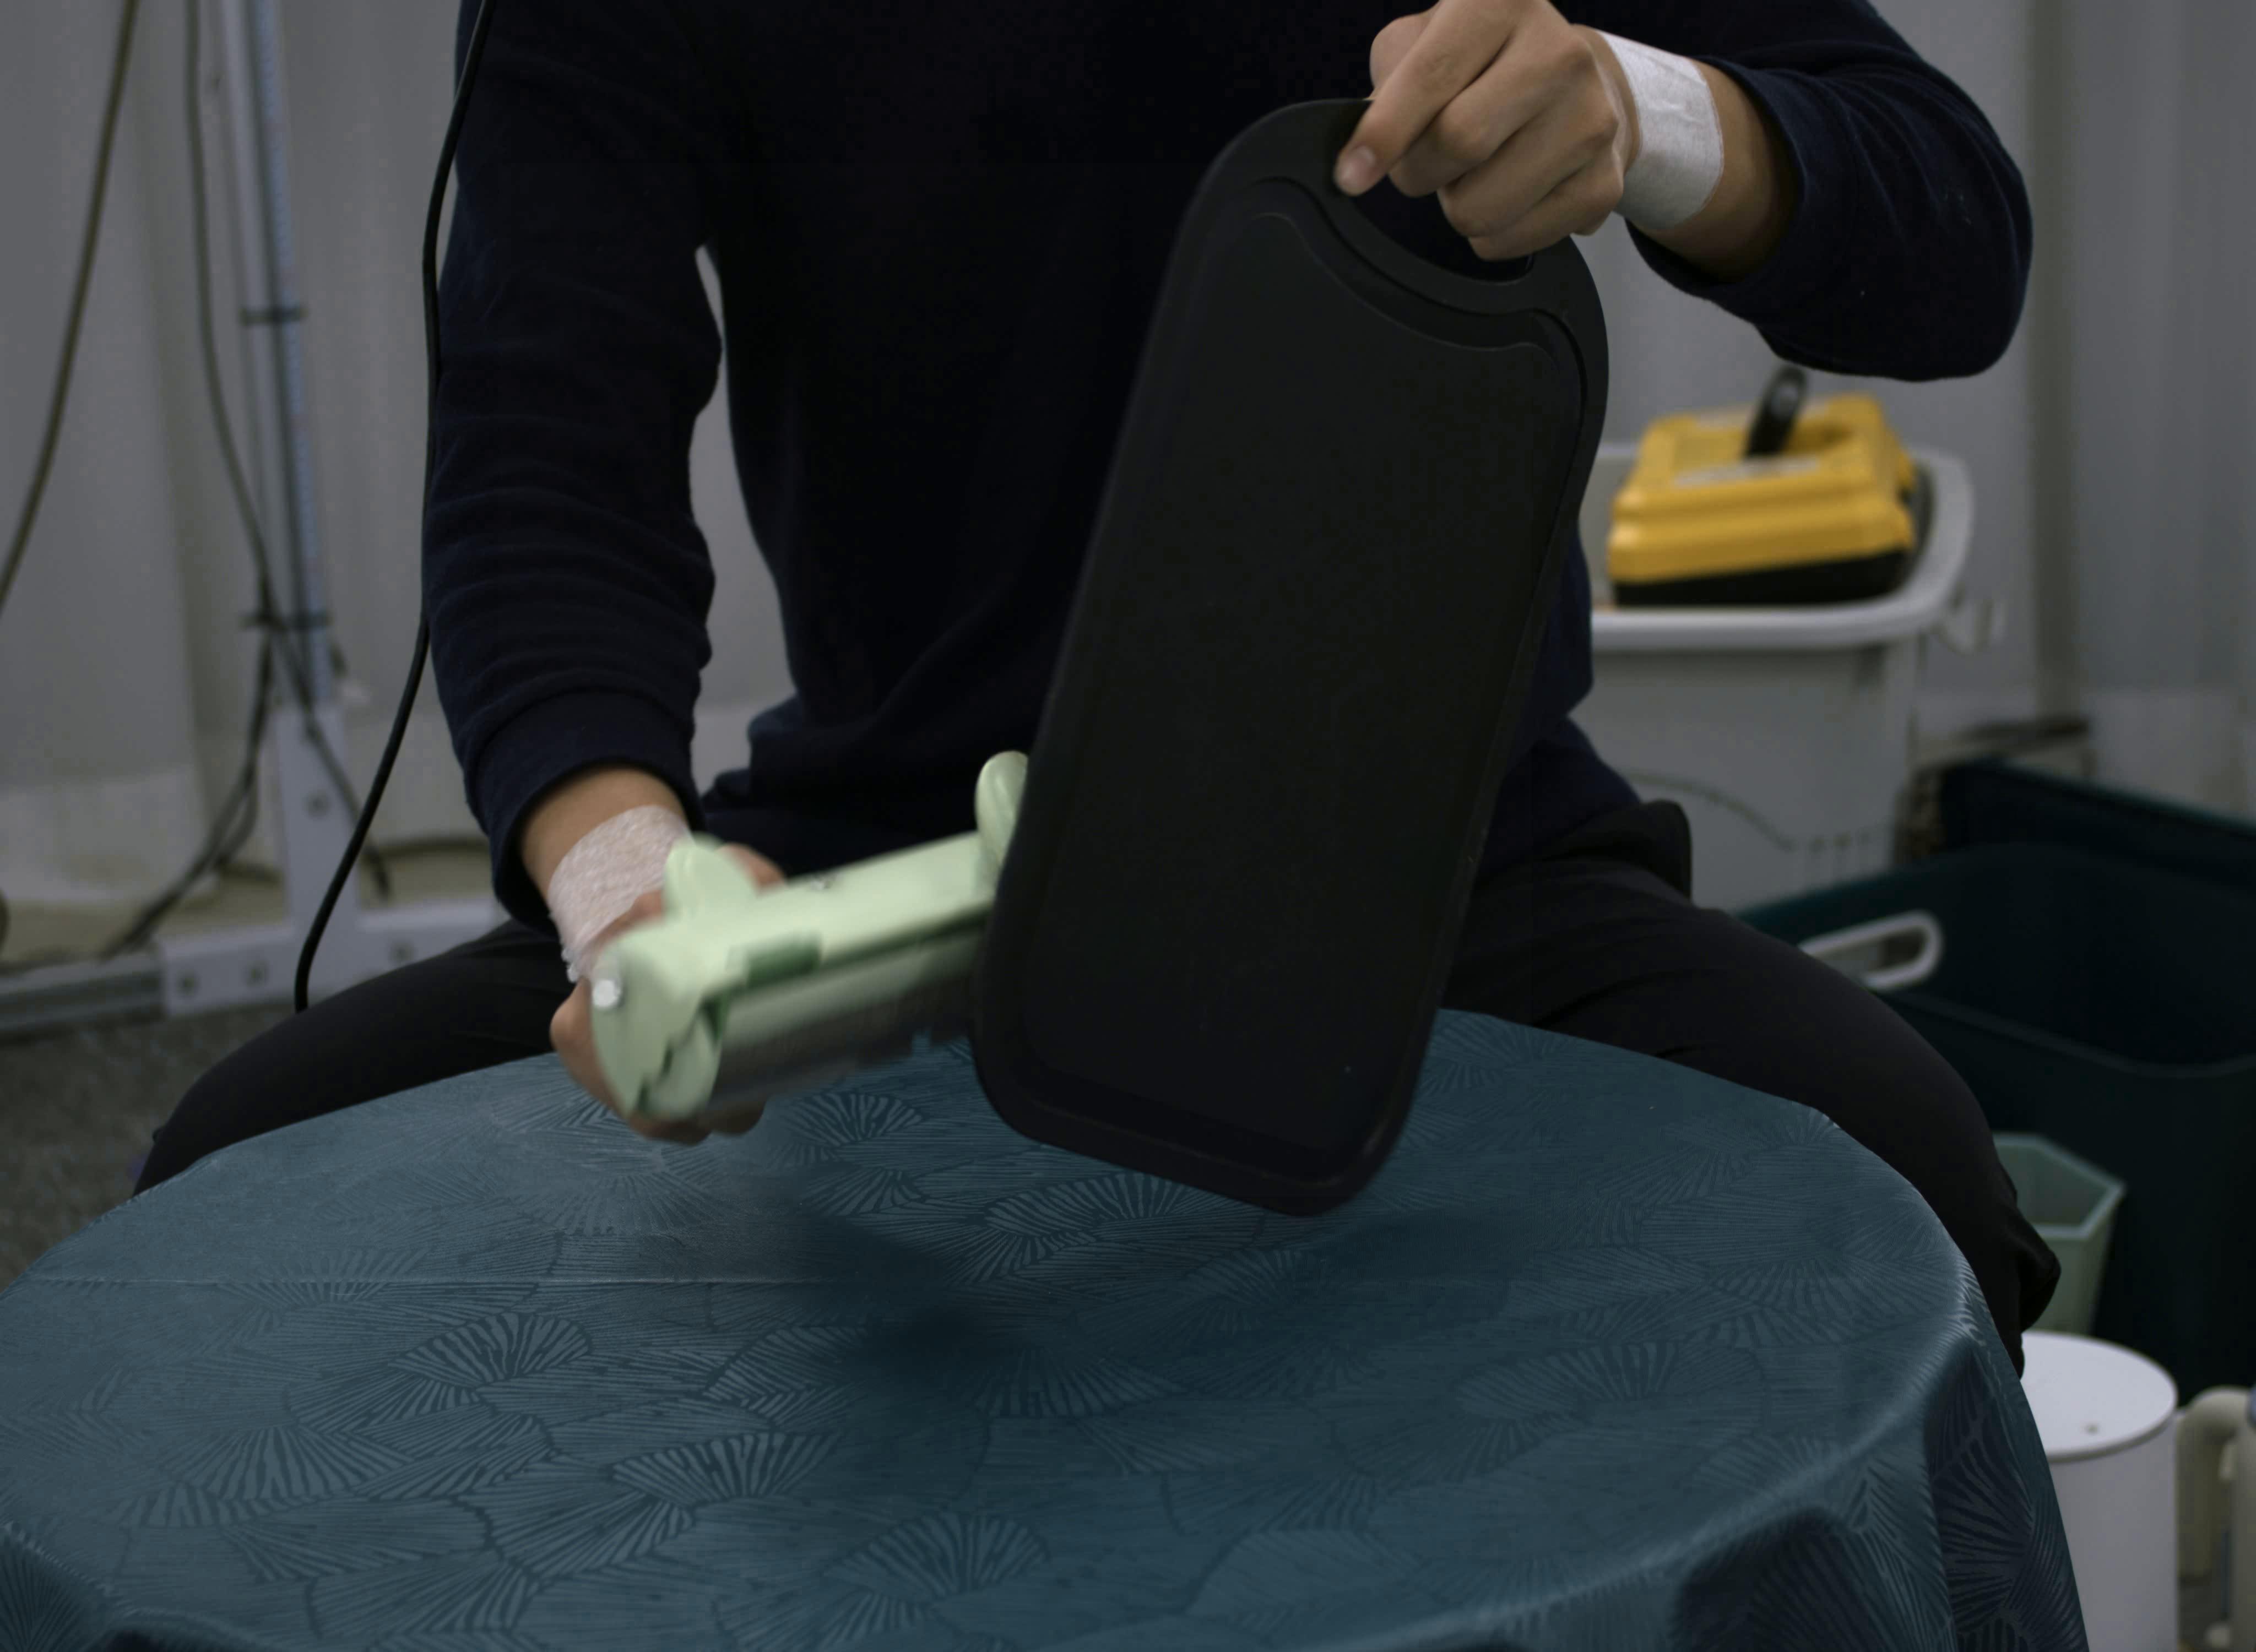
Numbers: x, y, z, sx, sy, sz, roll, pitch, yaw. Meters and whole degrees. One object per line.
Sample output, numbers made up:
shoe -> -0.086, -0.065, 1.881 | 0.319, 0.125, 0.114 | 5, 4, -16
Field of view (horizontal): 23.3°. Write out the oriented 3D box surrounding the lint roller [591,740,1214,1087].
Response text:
lint roller -> -0.099, 0.029, 1.615 | 0.198, 0.082, 0.183 | -13, 2, -40

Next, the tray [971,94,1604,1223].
tray -> 0.054, -0.052, 1.616 | 0.010, 0.327, 0.209 | 10, -9, 42
